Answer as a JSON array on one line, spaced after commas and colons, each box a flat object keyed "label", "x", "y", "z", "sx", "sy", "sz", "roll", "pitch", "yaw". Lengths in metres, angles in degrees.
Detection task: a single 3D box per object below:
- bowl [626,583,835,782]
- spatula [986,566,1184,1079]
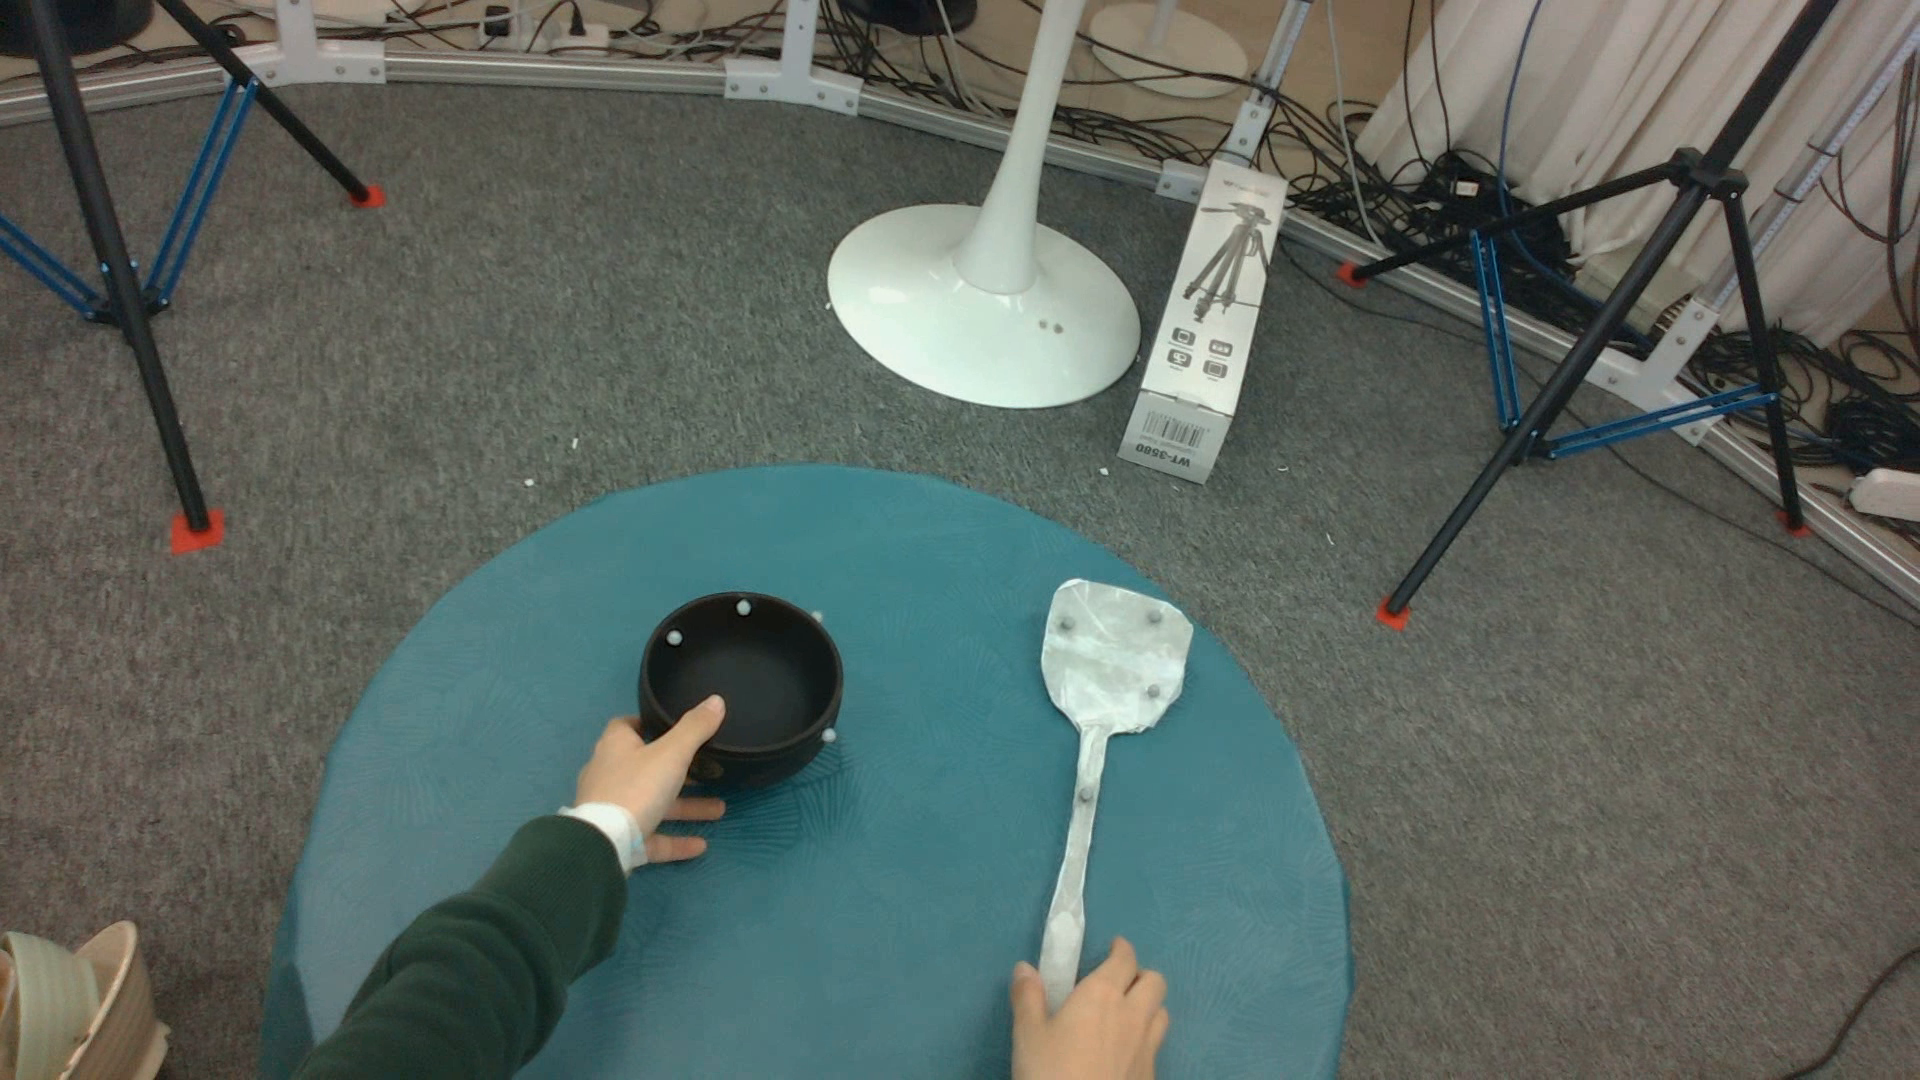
[{"label": "bowl", "x": -0.135, "y": 0.090, "z": 0.803, "sx": 0.118, "sy": 0.069, "sz": 0.118, "roll": 7, "pitch": 47, "yaw": -8}, {"label": "spatula", "x": 0.065, "y": 0.162, "z": 0.817, "sx": 0.099, "sy": 0.044, "sz": 0.367, "roll": 19, "pitch": 45, "yaw": -1}]
